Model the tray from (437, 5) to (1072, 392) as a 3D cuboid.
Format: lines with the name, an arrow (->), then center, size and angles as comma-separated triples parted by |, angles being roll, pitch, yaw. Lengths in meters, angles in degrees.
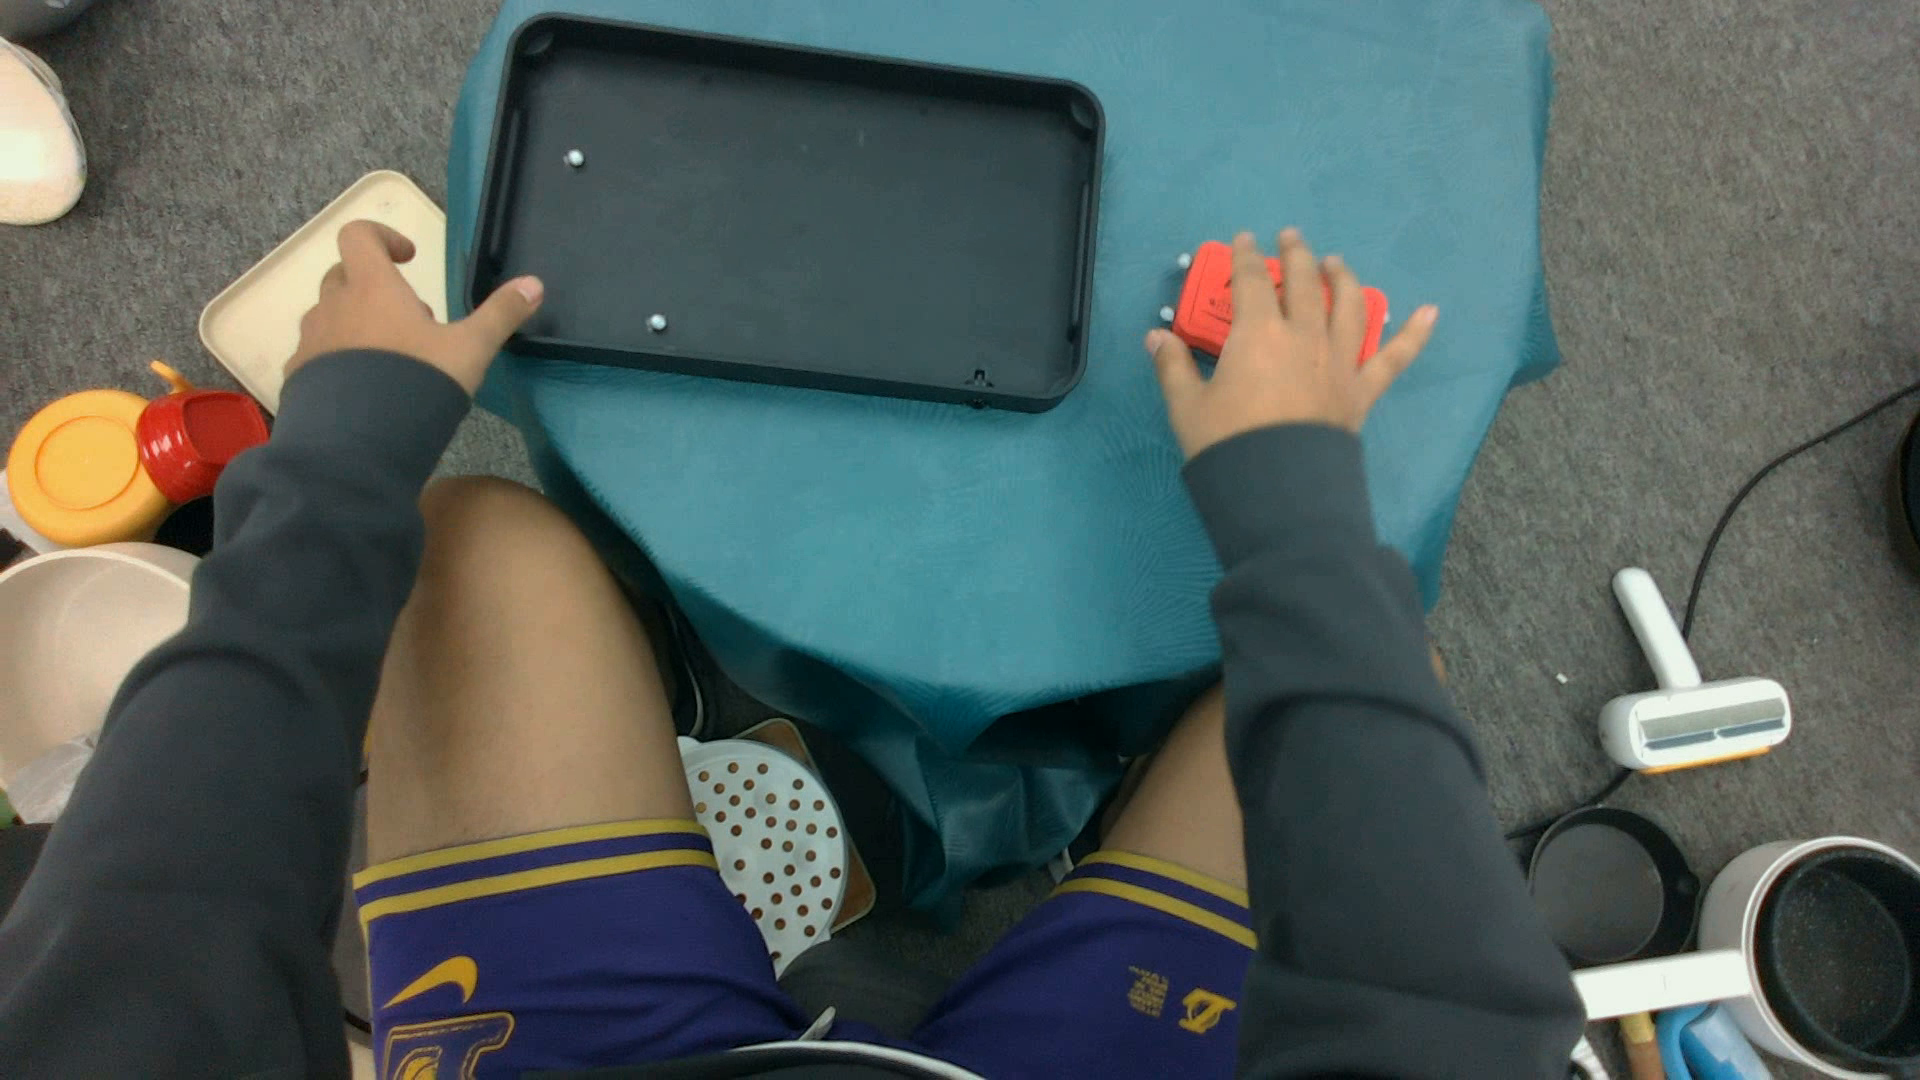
tray -> -0.102, -0.179, 0.733 | 0.318, 0.037, 0.184 | 4, 79, -5

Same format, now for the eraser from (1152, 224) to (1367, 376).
eraser -> 0.163, -0.130, 0.750 | 0.108, 0.023, 0.059 | 16, 82, -3
